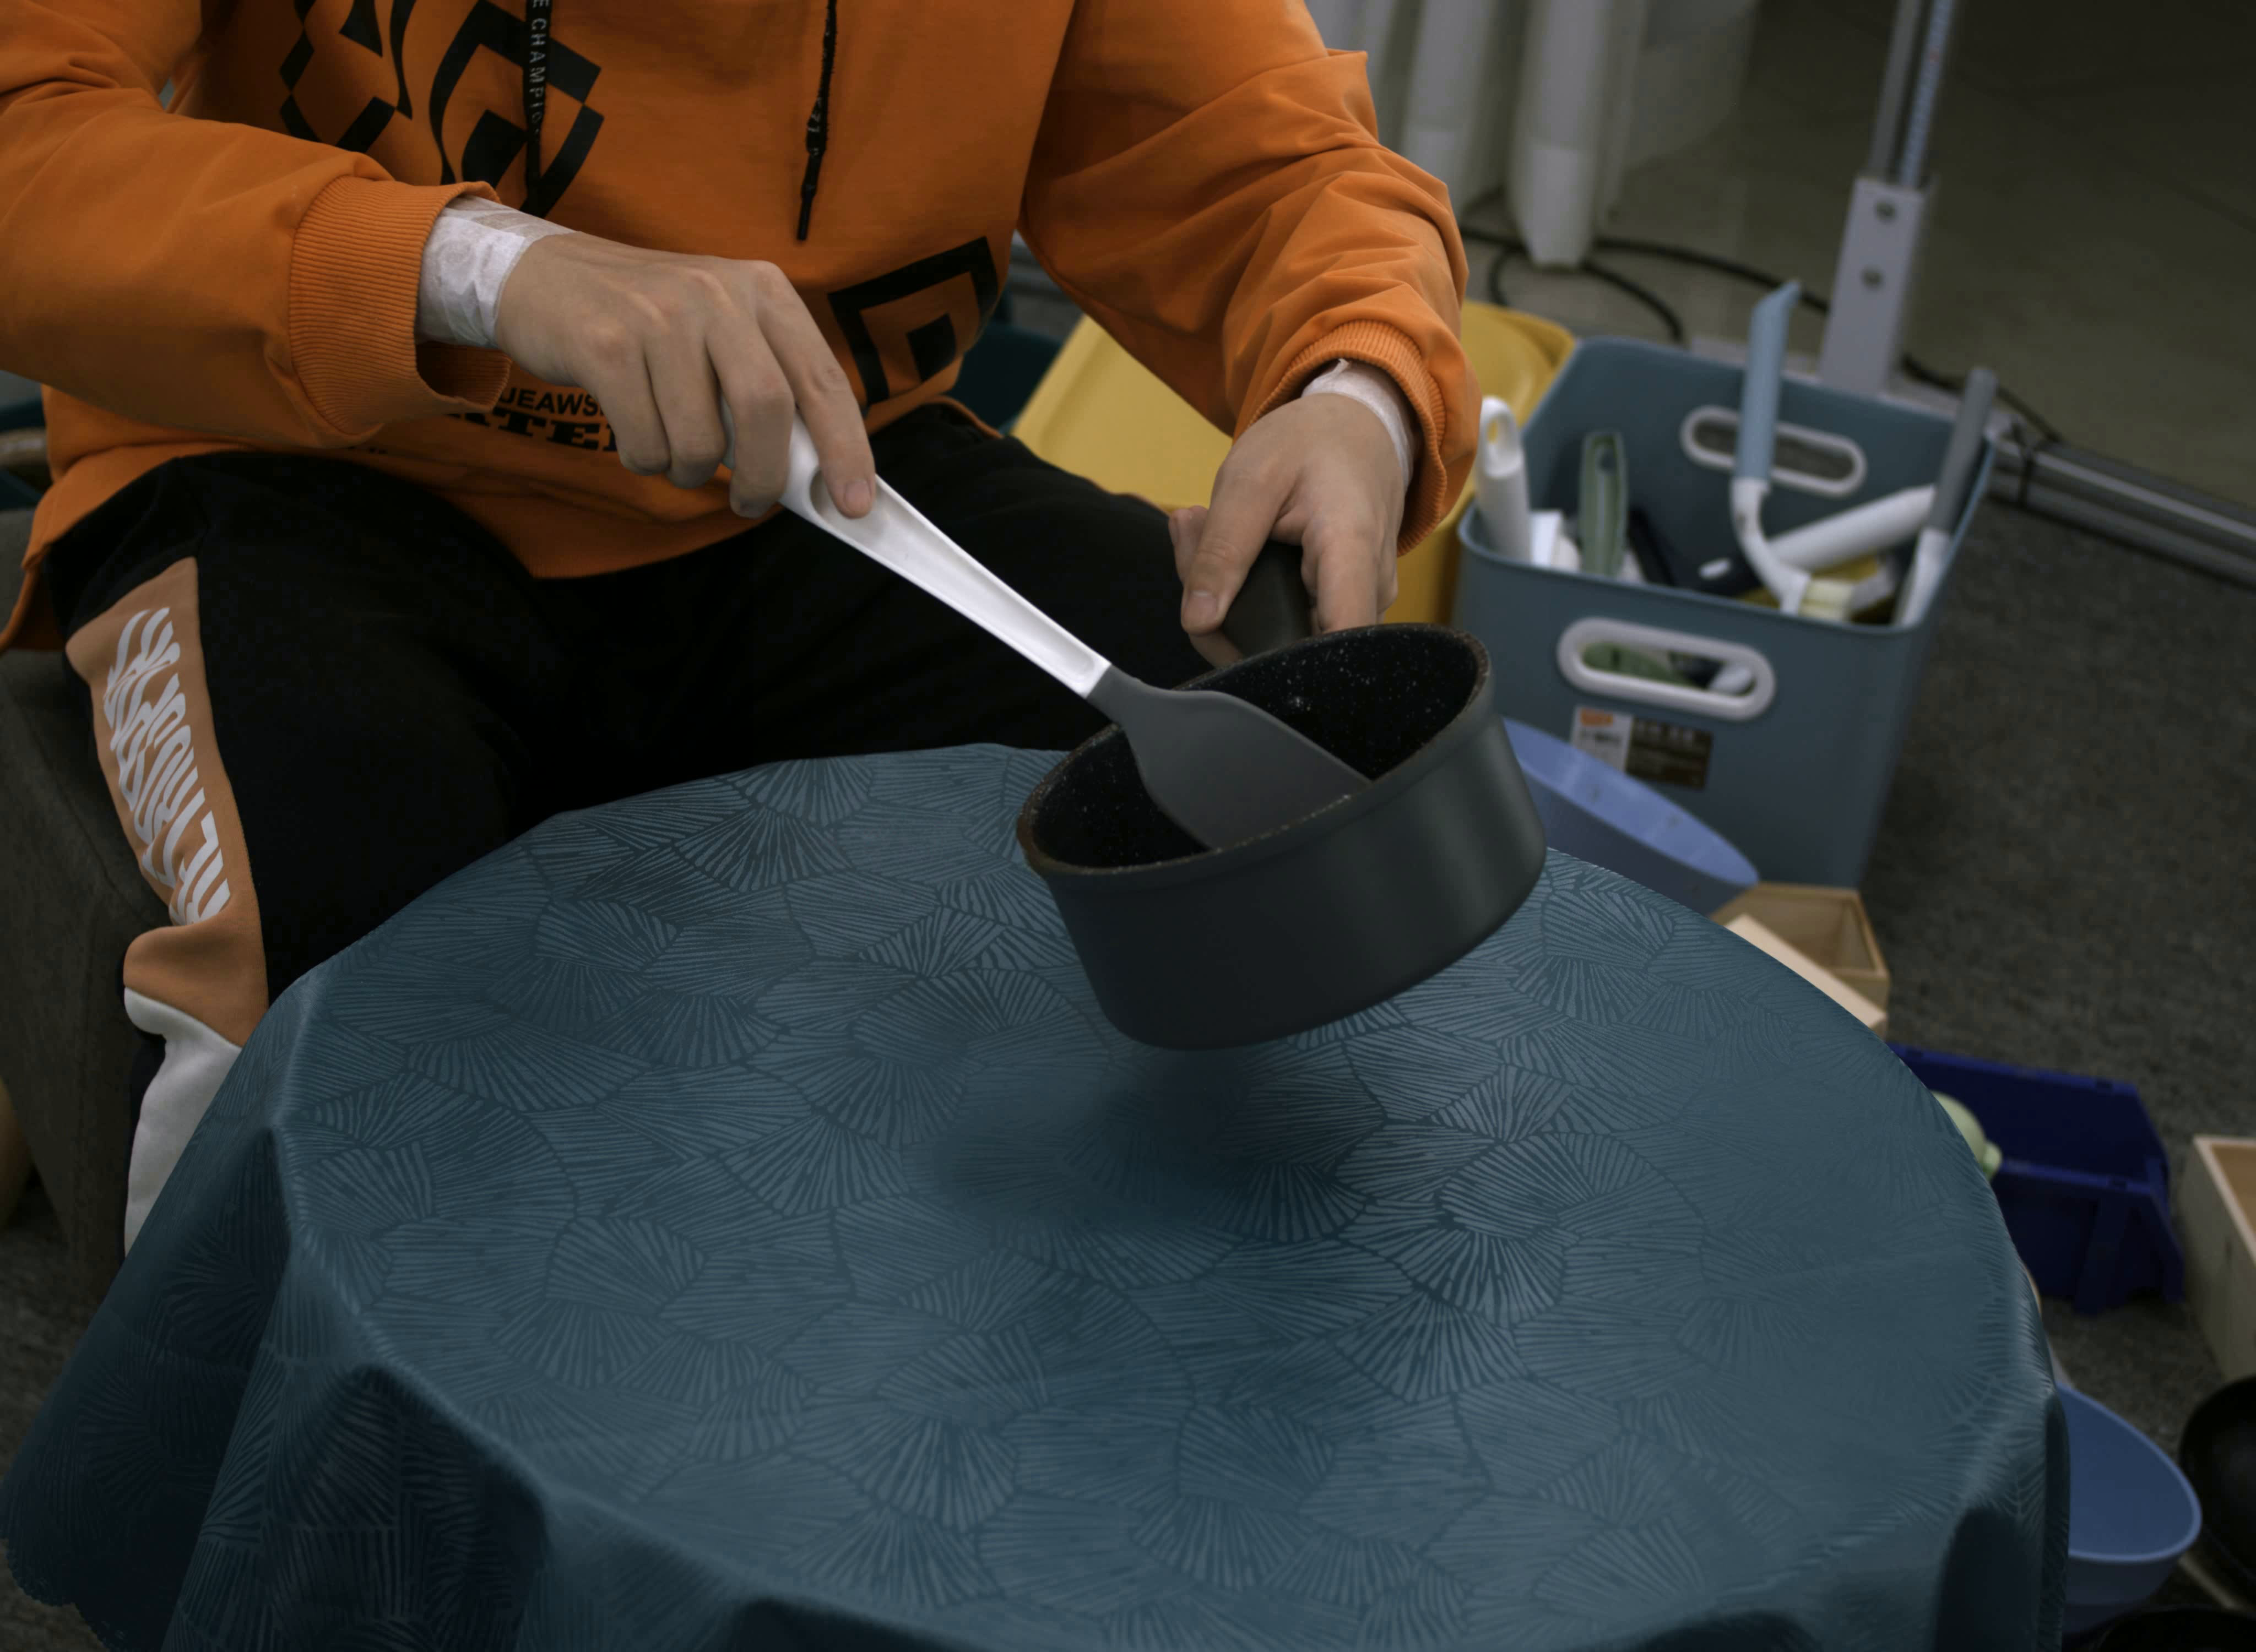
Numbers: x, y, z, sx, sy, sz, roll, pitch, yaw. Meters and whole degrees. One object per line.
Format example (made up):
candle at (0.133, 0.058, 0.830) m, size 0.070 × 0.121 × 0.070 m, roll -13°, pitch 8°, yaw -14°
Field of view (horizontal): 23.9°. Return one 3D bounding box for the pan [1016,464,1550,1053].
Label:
pan at (0.058, -0.030, 1.872) m, size 0.172 × 0.086 × 0.330 m, roll -18°, pitch 22°, yaw 11°

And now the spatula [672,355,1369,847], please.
spatula at (-0.035, -0.071, 1.848) m, size 0.288 × 0.059 × 0.032 m, roll 35°, pitch -6°, yaw 8°
